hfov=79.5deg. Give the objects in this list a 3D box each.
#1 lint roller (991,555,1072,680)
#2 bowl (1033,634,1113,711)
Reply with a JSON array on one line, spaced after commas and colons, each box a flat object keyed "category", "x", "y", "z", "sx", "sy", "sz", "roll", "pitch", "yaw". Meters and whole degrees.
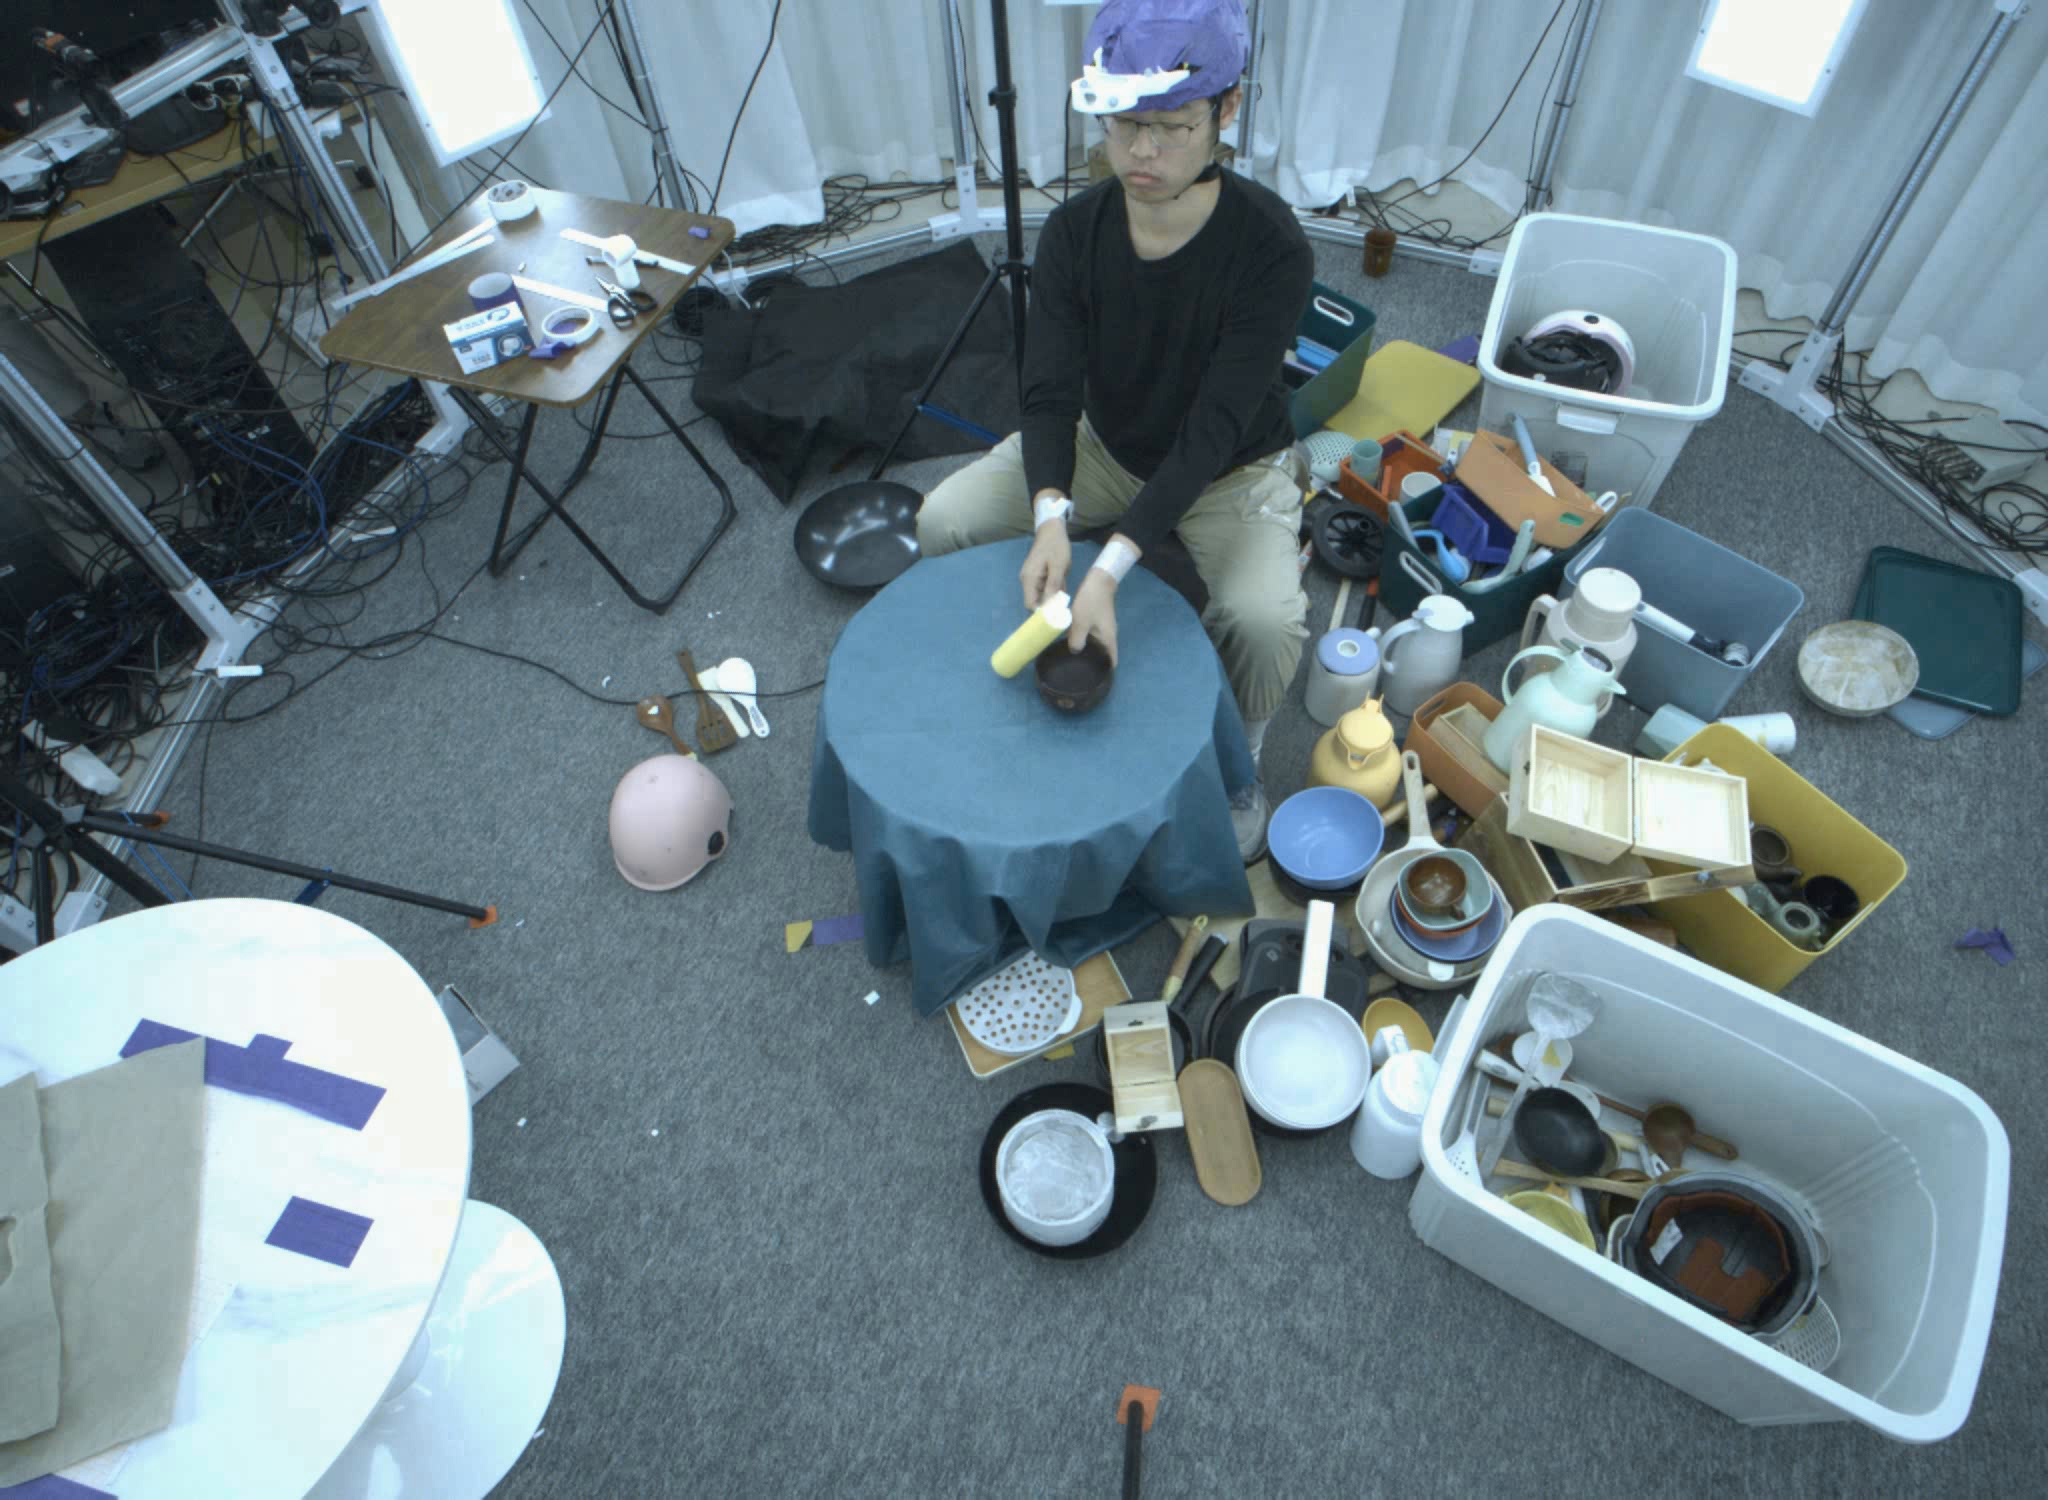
[{"category": "lint roller", "x": 0.017, "y": -0.219, "z": 1.823, "sx": 0.052, "sy": 0.172, "sz": 0.190, "roll": 19, "pitch": 58, "yaw": -23}, {"category": "bowl", "x": 0.071, "y": -0.106, "z": 1.813, "sx": 0.118, "sy": 0.070, "sz": 0.117, "roll": 1, "pitch": 54, "yaw": 0}]
